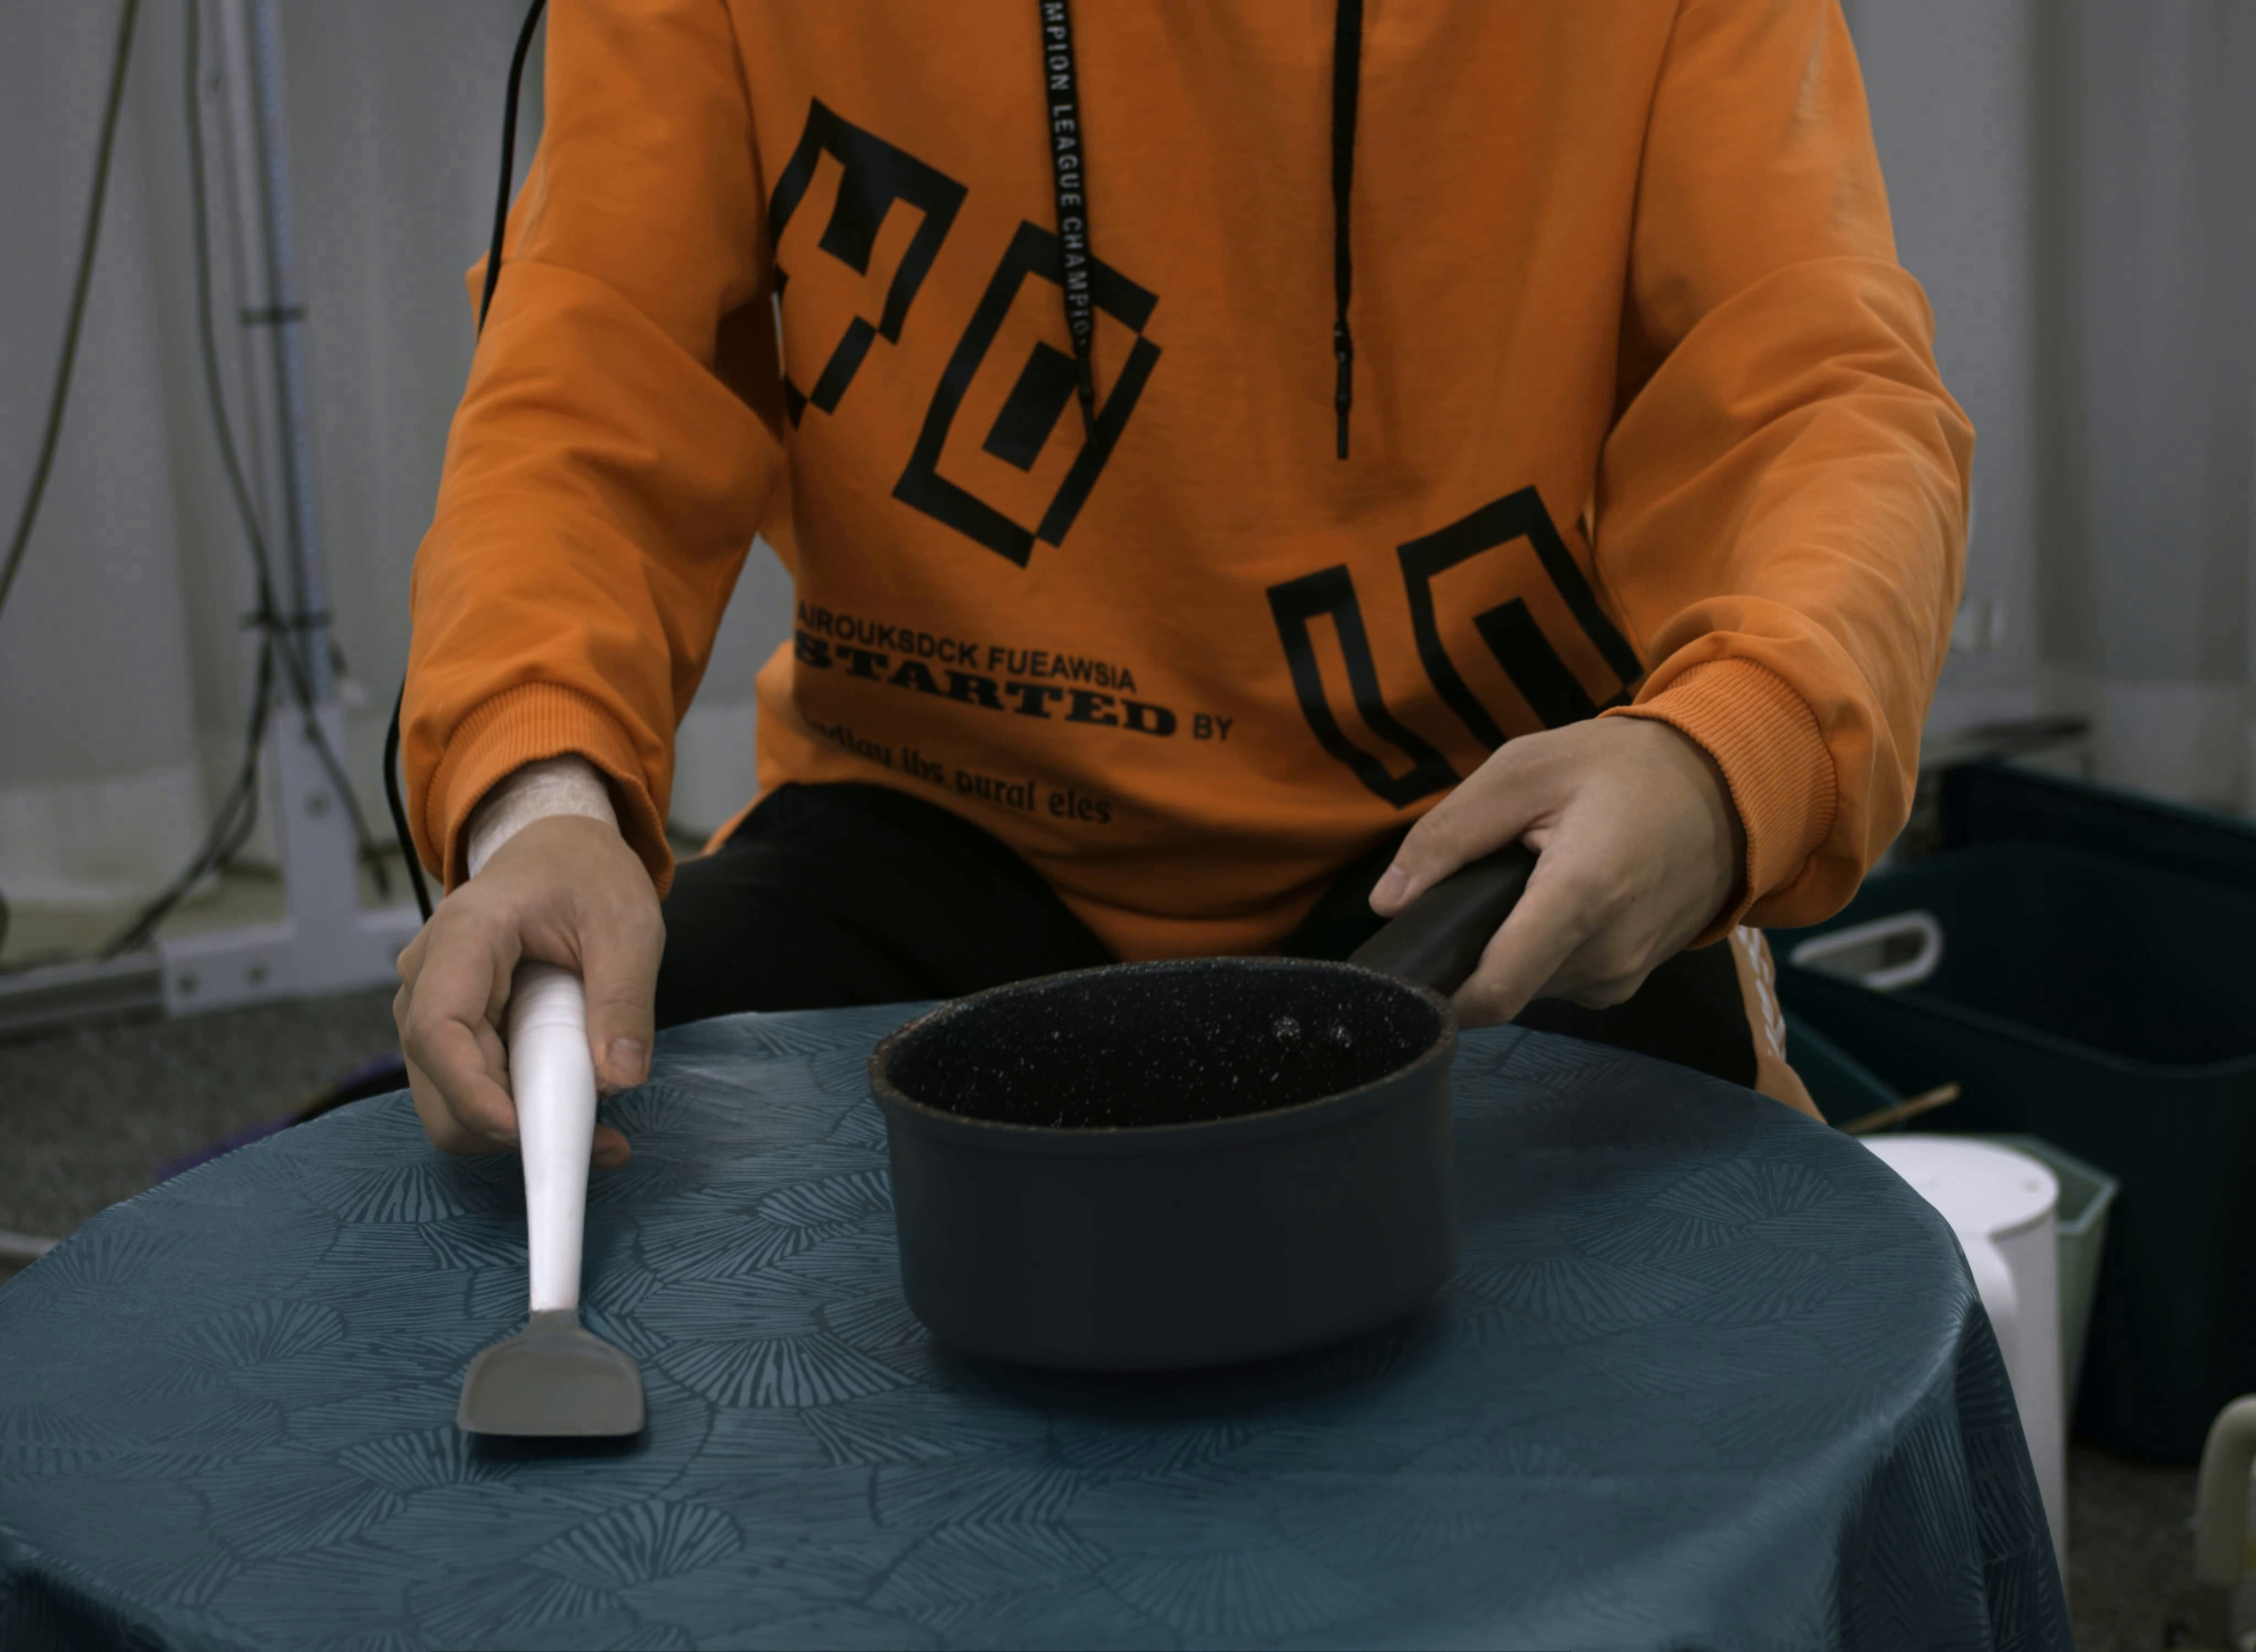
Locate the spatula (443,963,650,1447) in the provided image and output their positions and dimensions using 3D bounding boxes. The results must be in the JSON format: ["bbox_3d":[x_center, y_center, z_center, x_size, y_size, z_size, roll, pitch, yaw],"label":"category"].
[{"bbox_3d":[-0.174,0.118,1.644,0.058,0.032,0.291,5,24,-8],"label":"spatula"}]

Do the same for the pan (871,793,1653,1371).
[{"bbox_3d":[0.060,0.073,1.640,0.172,0.086,0.329,7,20,36],"label":"pan"}]
